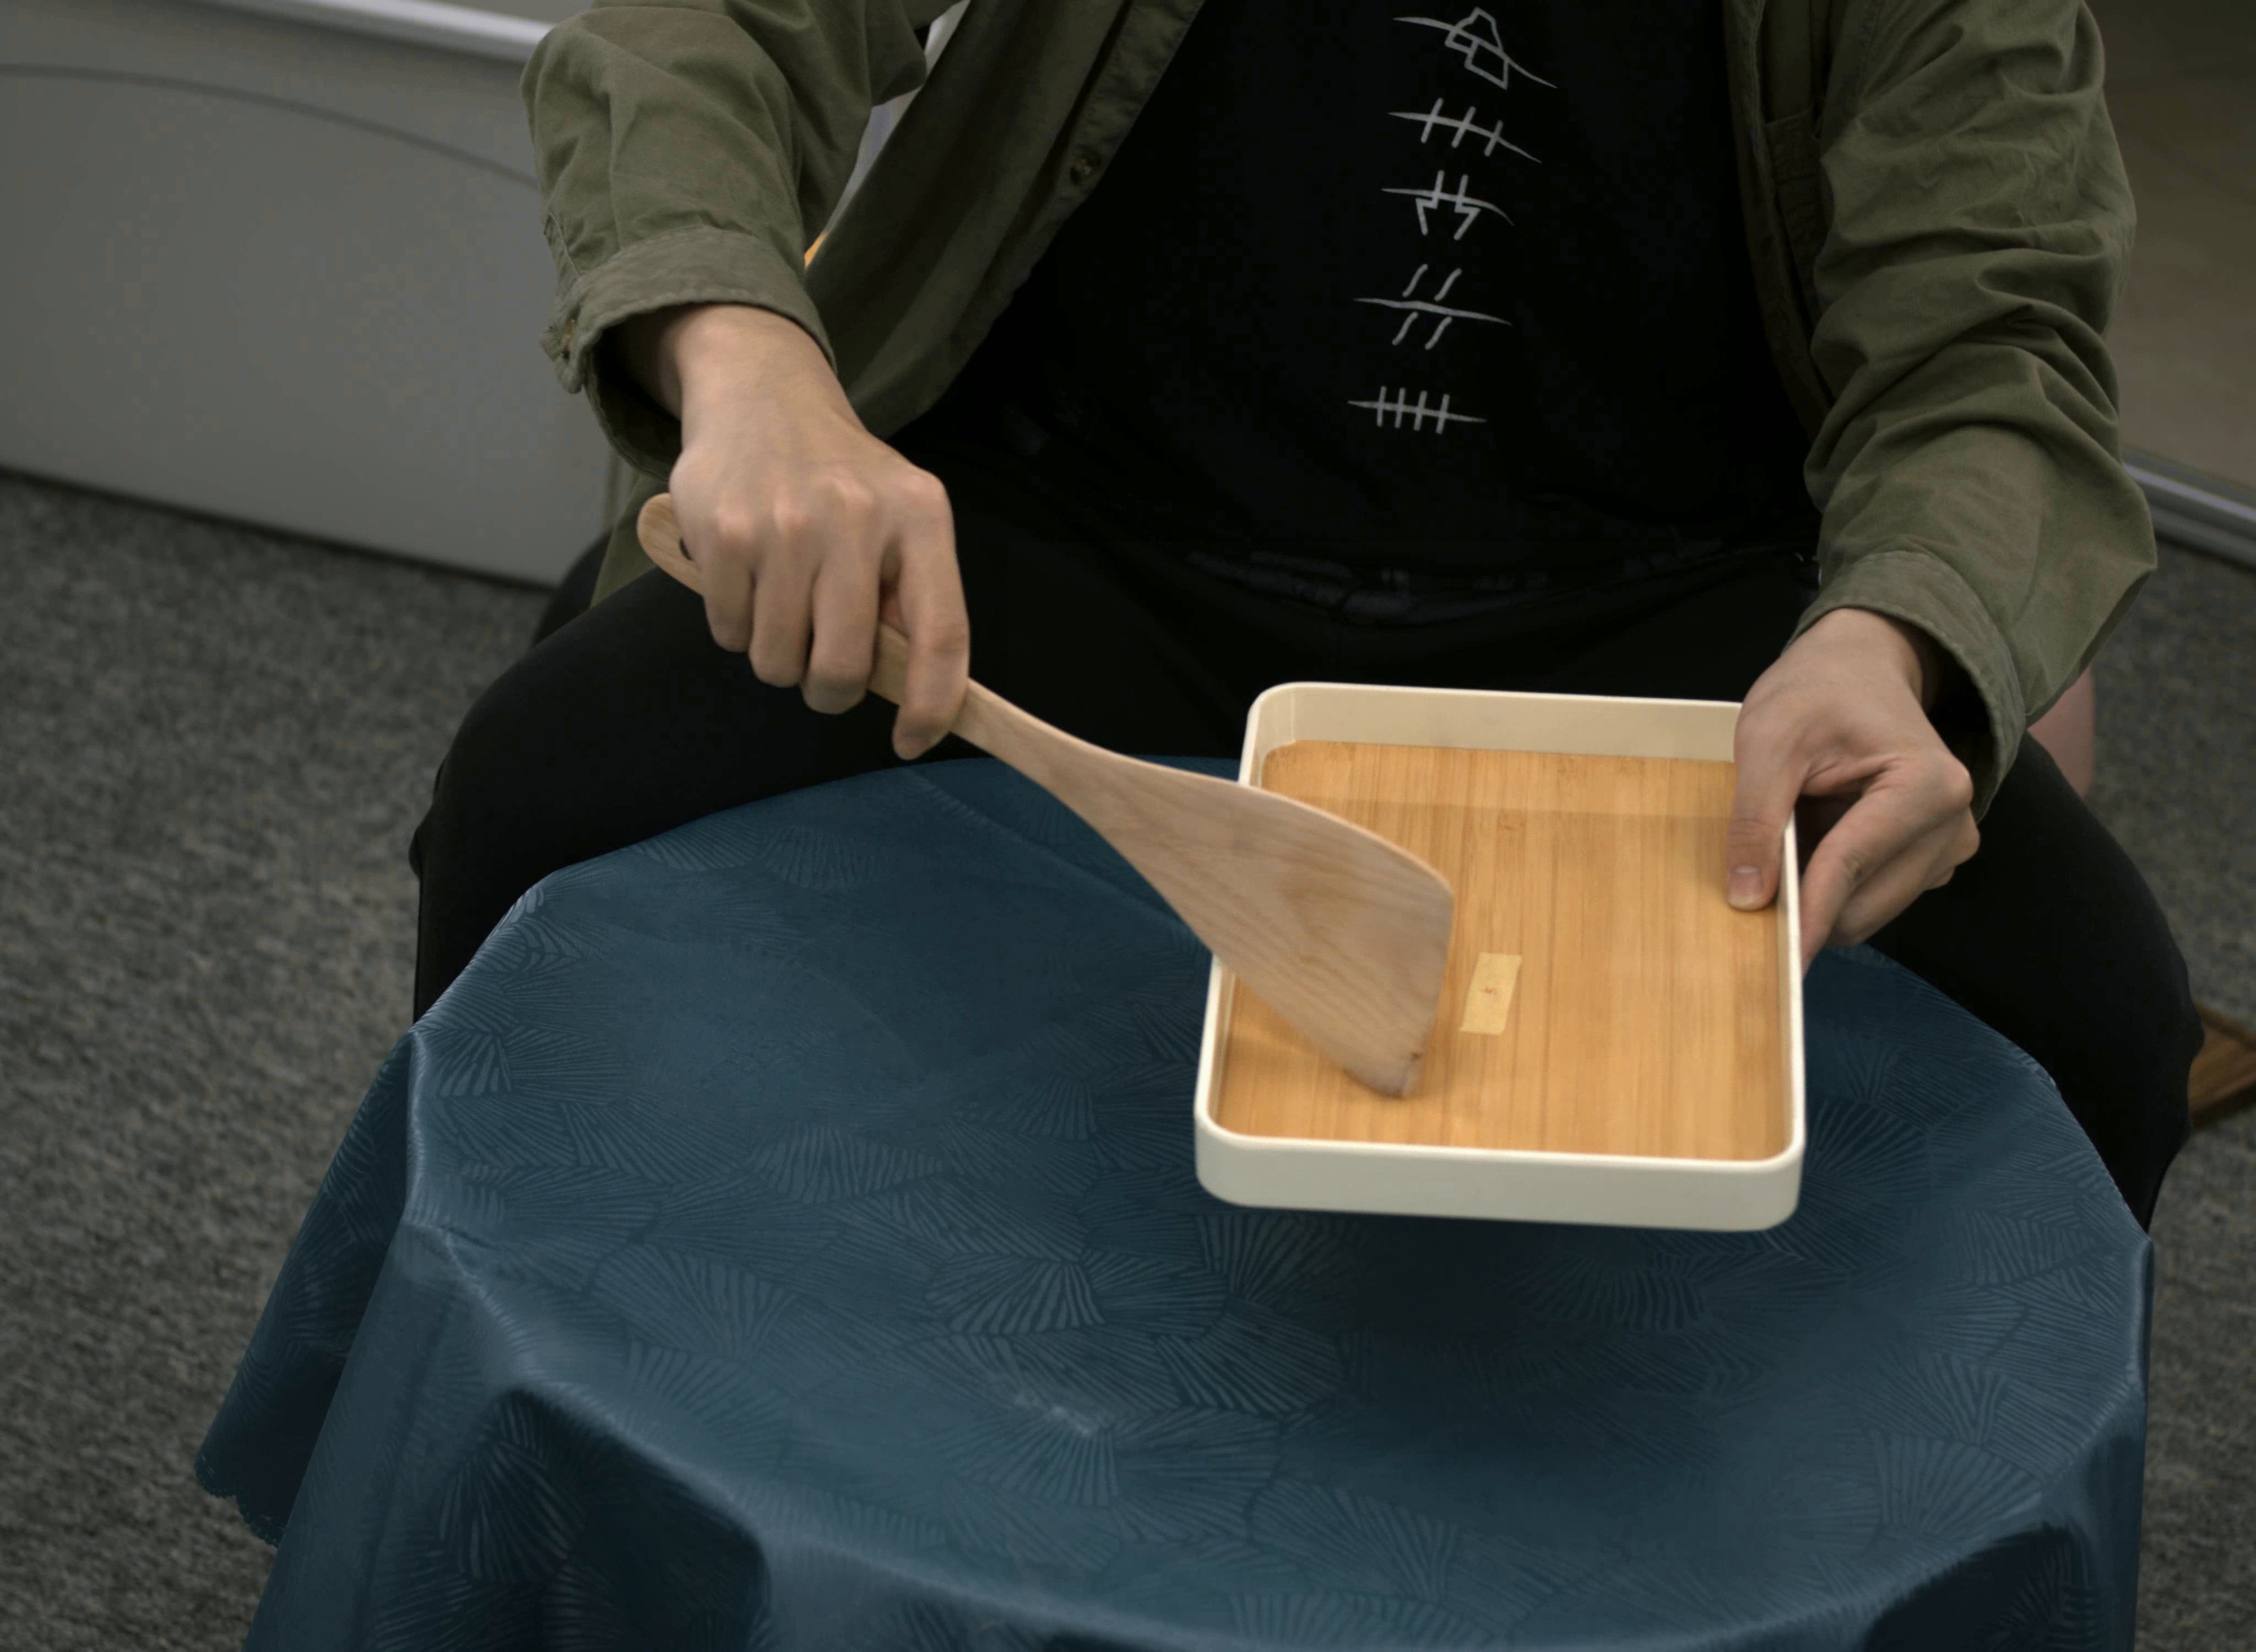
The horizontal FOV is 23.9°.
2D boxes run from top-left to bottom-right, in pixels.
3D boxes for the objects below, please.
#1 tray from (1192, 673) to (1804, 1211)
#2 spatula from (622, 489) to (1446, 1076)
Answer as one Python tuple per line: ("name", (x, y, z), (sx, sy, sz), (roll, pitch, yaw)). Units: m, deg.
("tray", (0.126, 0.033, 1.767), (0.191, 0.027, 0.302), (3, 29, 5))
("spatula", (-0.034, -0.028, 1.730), (0.329, 0.080, 0.016), (30, 30, 18))
